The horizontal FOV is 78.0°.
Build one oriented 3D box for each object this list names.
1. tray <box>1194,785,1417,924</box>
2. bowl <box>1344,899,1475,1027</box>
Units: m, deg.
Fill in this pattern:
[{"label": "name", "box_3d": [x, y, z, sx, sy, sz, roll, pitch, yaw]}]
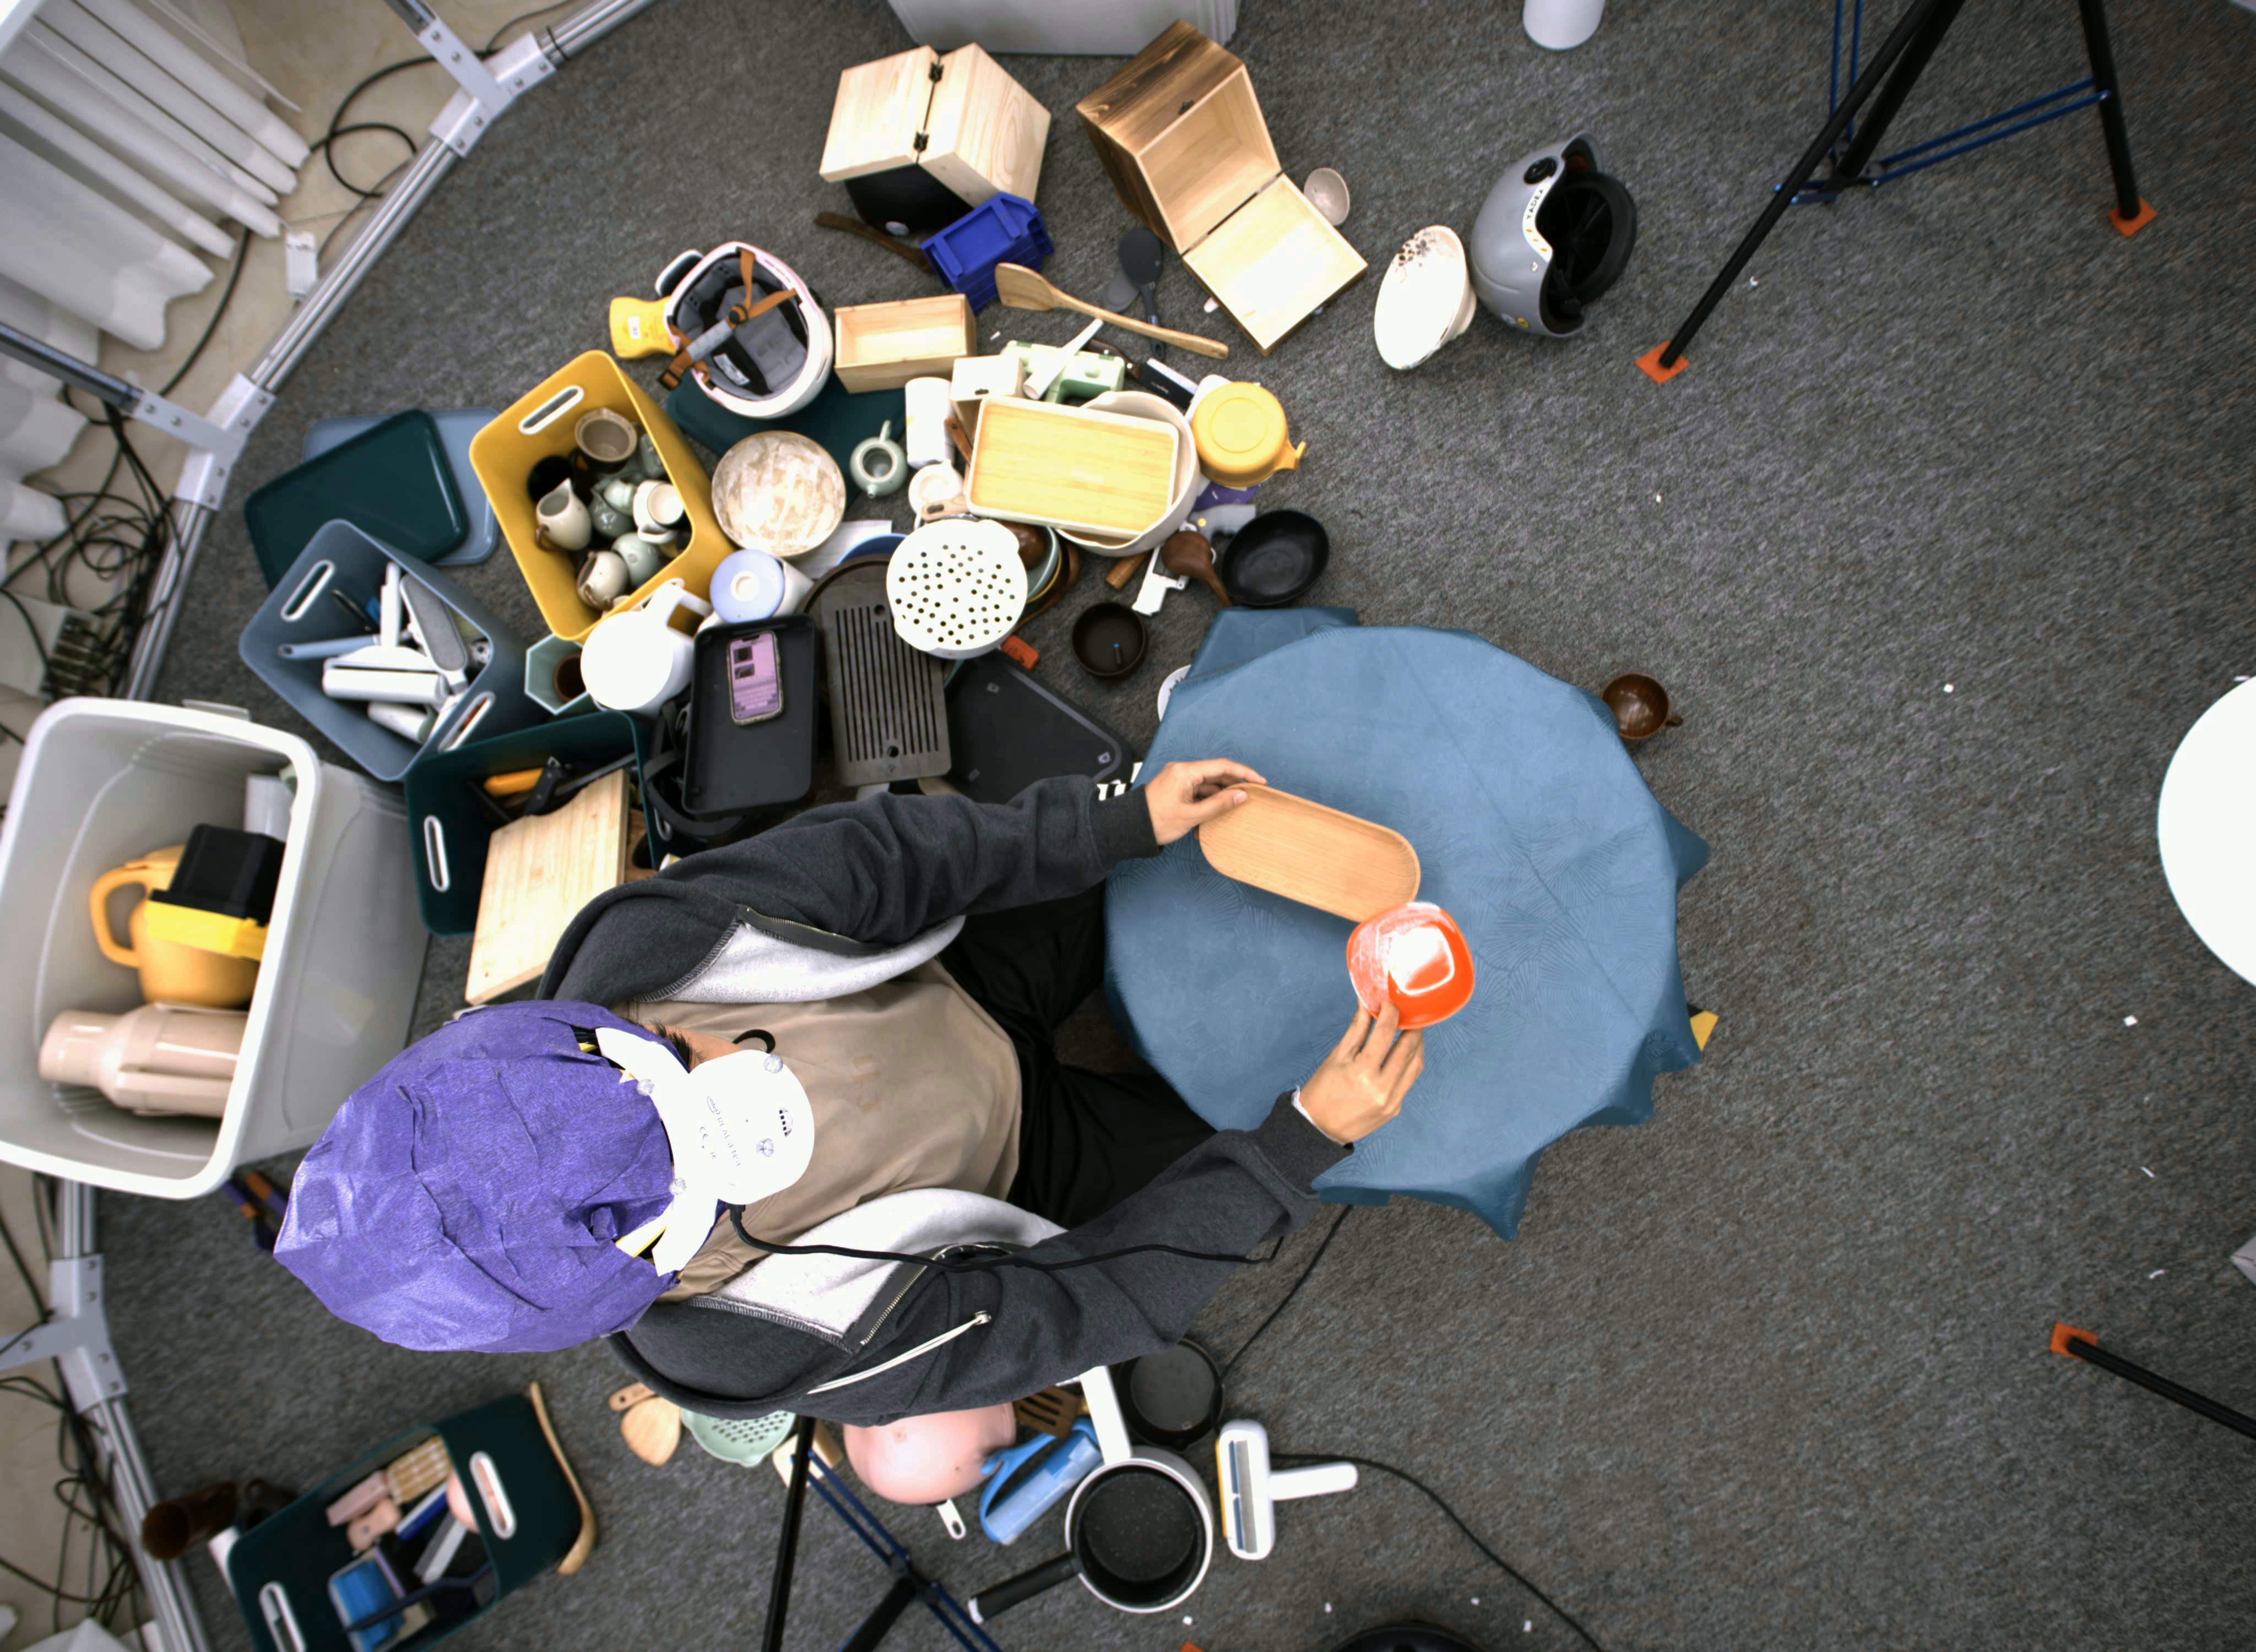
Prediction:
[{"label": "tray", "box_3d": [0.180, 0.028, 1.404, 0.231, 0.020, 0.102, 18, 91, 7]}, {"label": "bowl", "box_3d": [0.258, 0.119, 1.245, 0.119, 0.051, 0.119, 3, 97, 24]}]
